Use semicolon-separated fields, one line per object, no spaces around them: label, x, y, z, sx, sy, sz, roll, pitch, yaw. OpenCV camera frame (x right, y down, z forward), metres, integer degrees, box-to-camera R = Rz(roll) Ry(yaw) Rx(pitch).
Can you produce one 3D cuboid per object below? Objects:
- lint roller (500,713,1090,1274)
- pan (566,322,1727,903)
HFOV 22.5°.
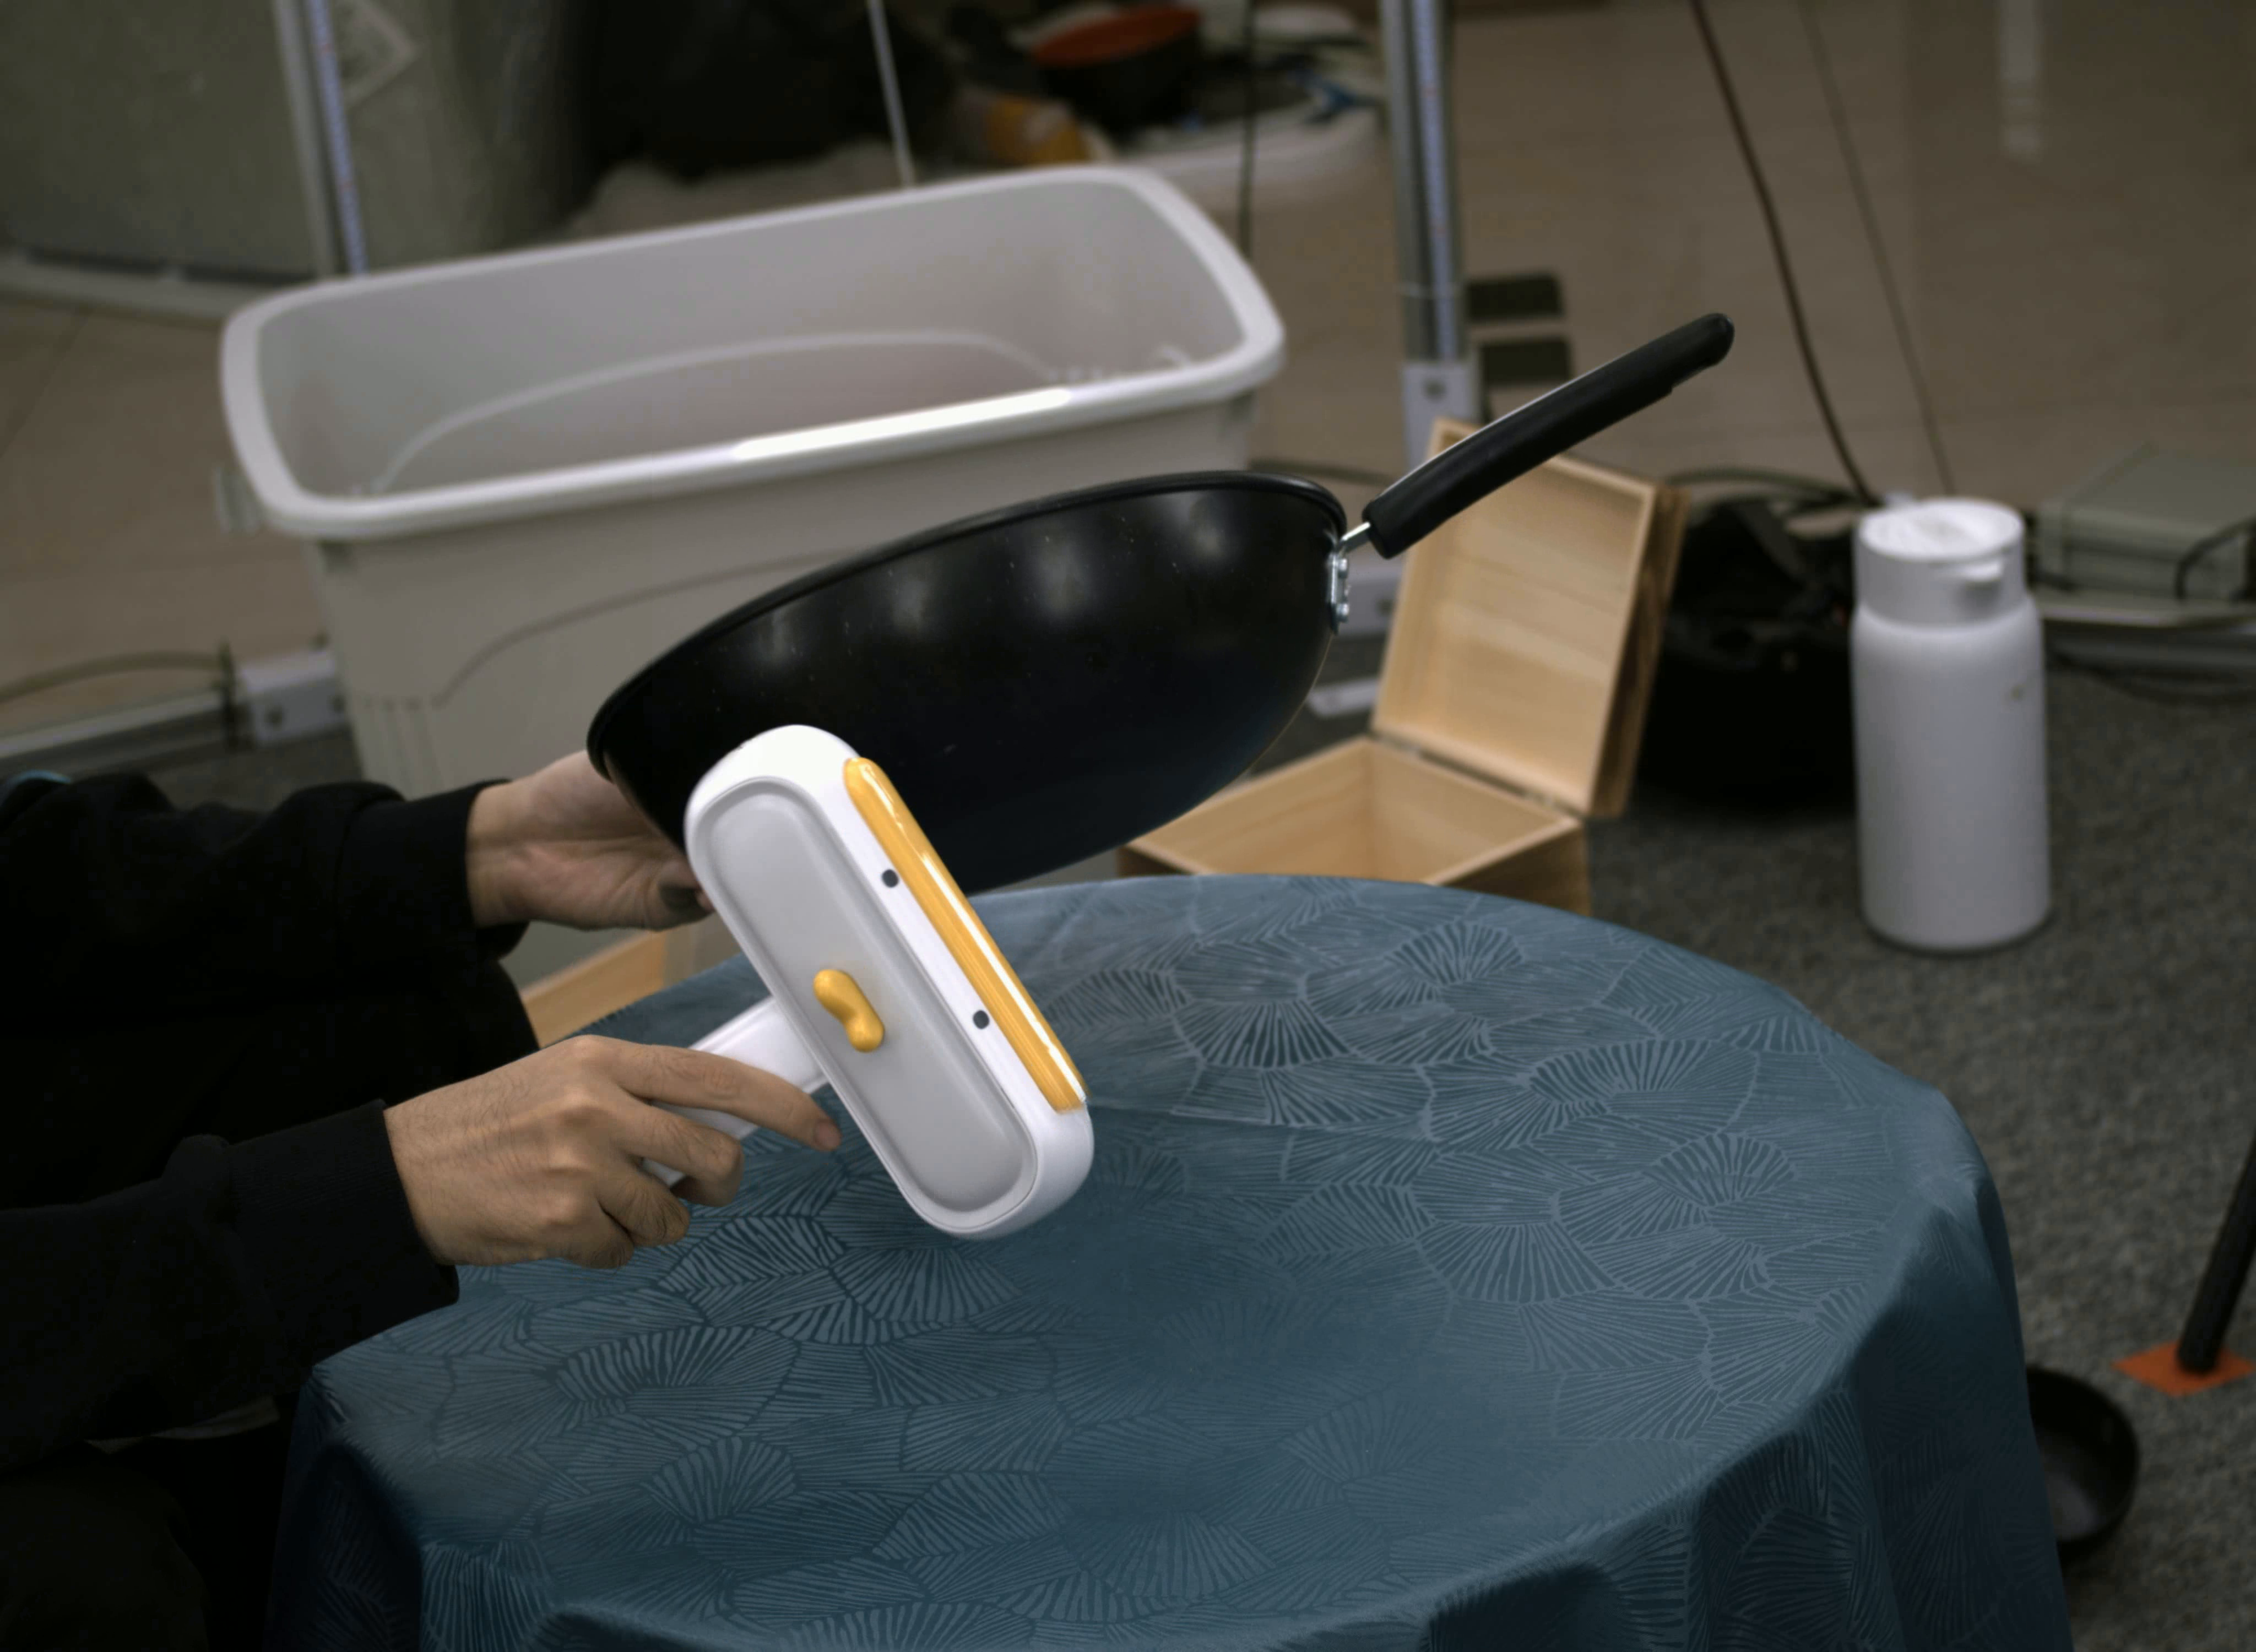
lint roller;-0.133;0.085;1.959;0.193;0.193;0.073;-36;5;14
pan;0.019;-0.070;2.184;0.476;0.111;0.312;-18;-12;-1
